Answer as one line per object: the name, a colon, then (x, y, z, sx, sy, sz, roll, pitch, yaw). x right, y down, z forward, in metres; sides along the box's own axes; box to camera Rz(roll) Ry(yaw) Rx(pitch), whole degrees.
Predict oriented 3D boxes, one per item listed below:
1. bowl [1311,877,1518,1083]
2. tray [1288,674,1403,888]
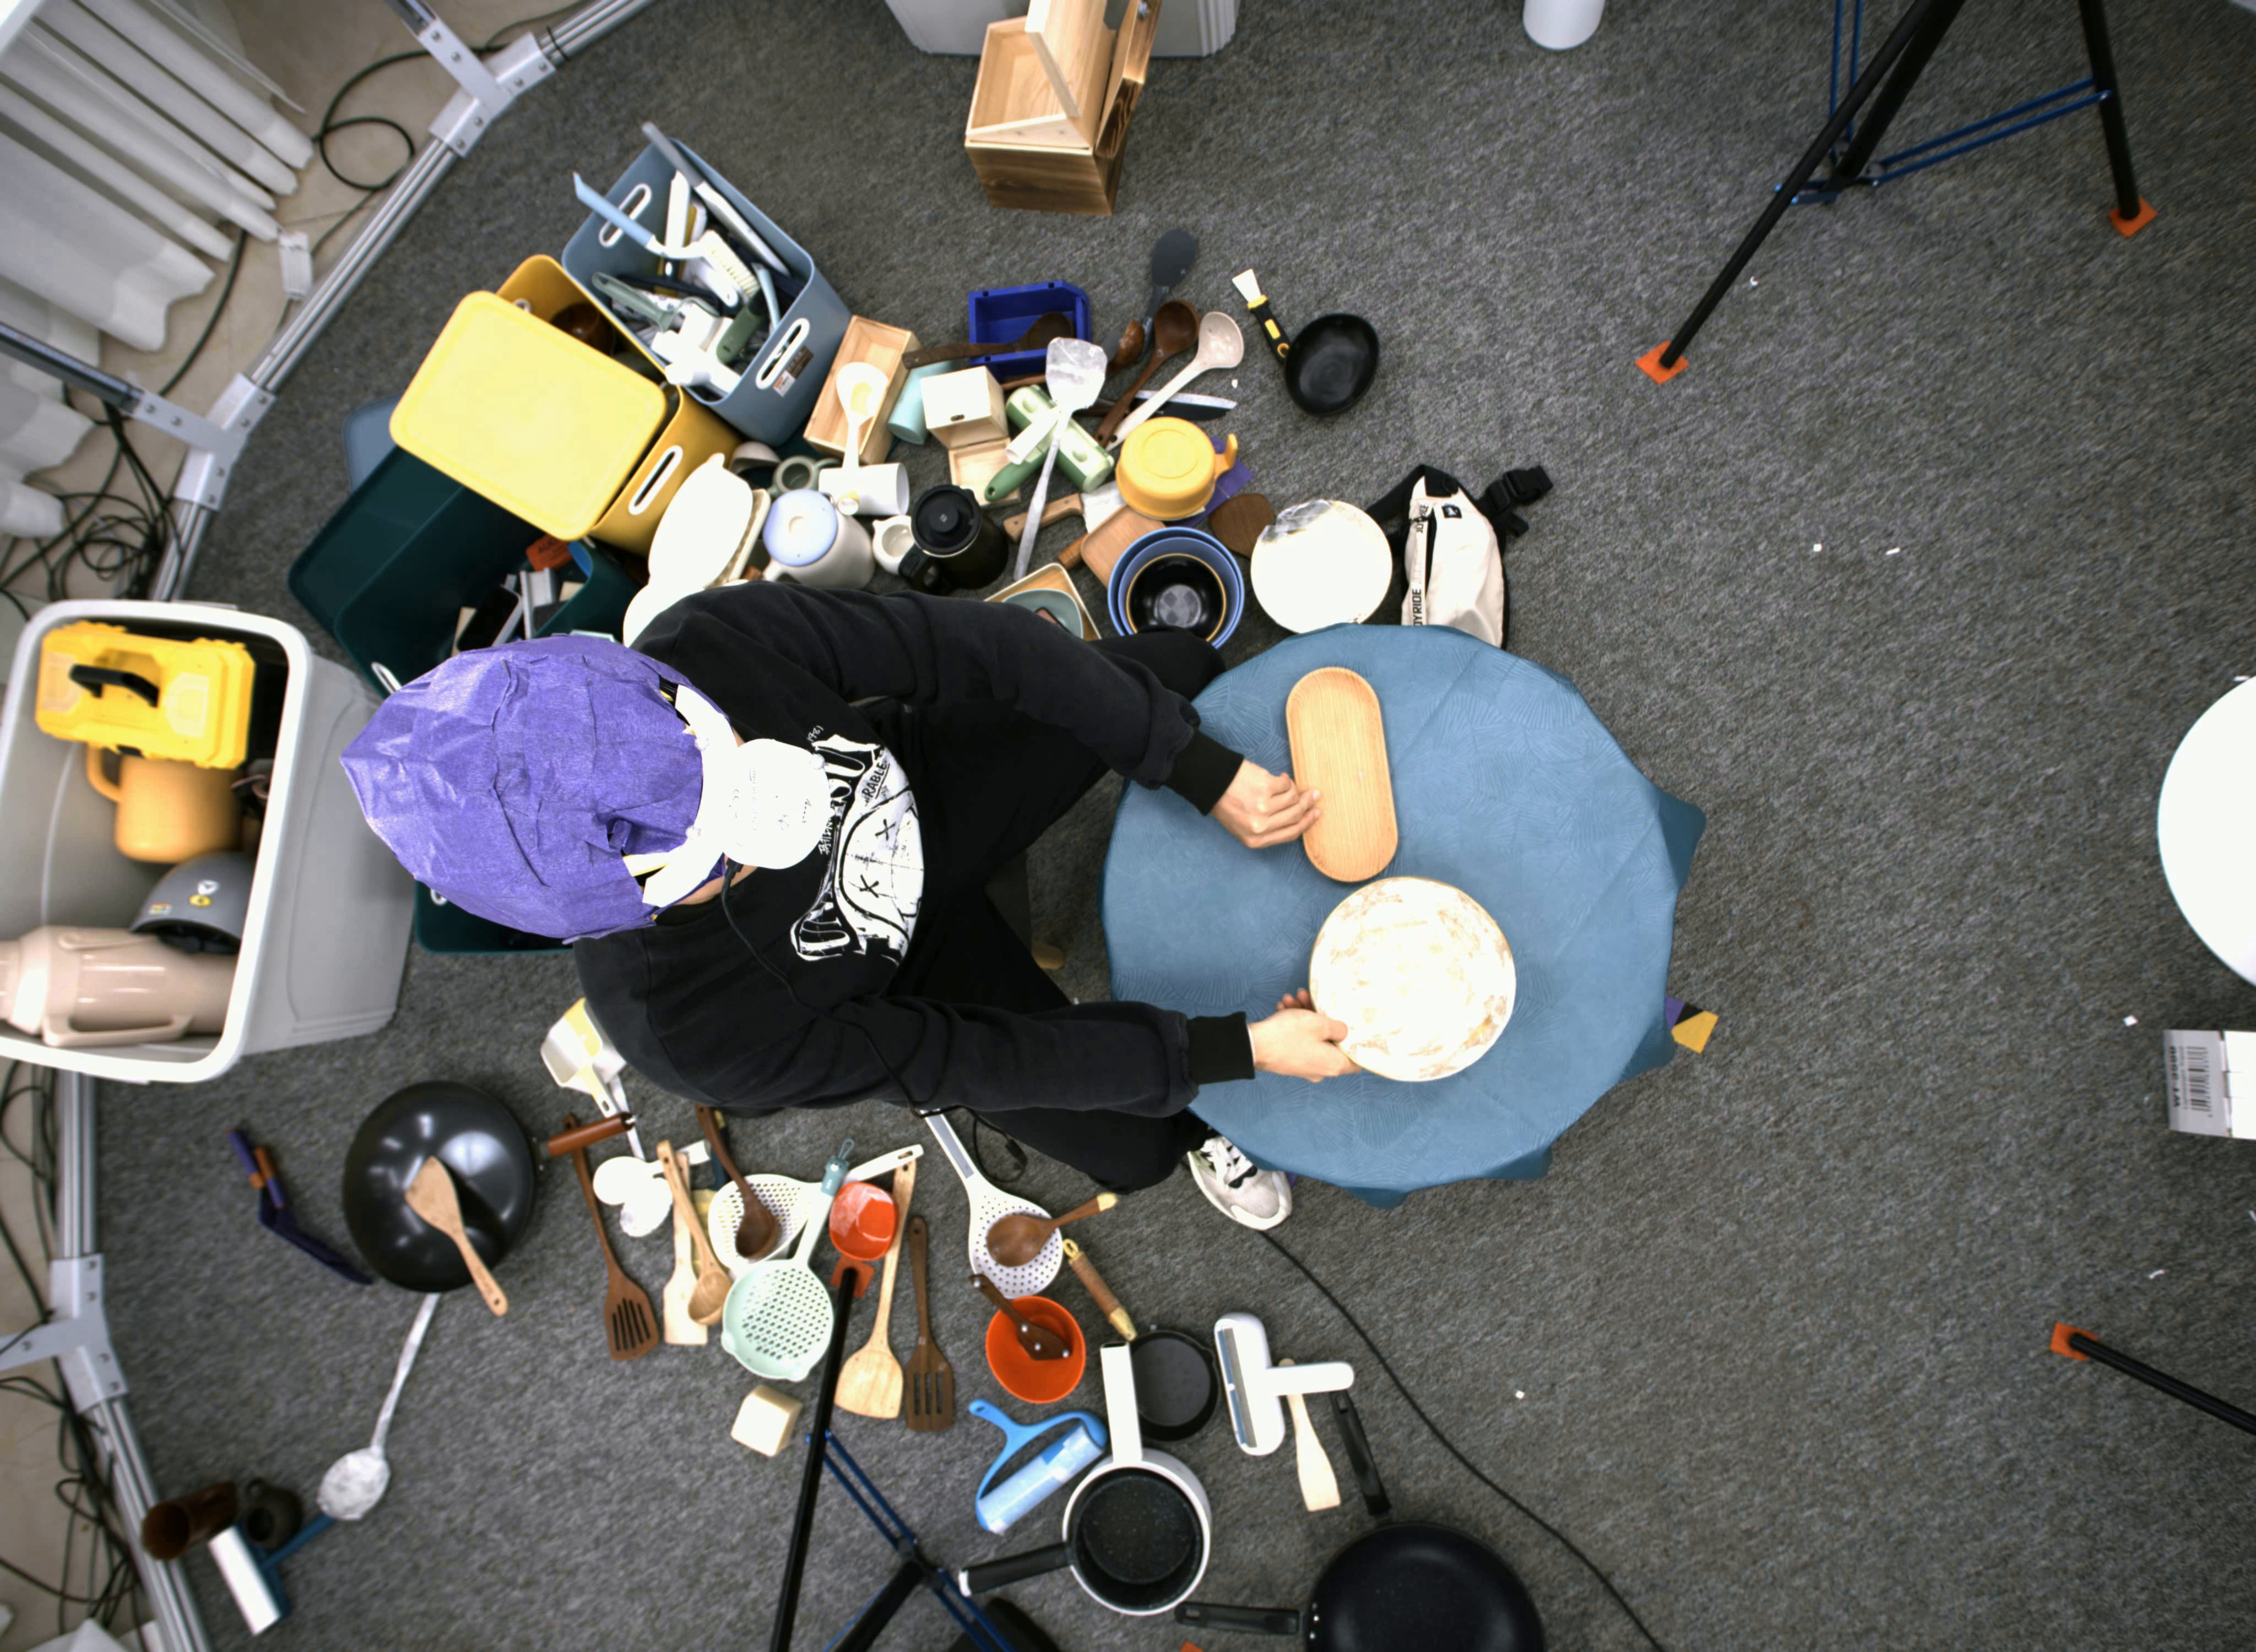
bowl: (0.288, 0.151, 1.401, 0.216, 0.094, 0.213, -1, 86, 13)
tray: (0.230, -0.049, 1.466, 0.102, 0.020, 0.230, -8, 87, 2)
